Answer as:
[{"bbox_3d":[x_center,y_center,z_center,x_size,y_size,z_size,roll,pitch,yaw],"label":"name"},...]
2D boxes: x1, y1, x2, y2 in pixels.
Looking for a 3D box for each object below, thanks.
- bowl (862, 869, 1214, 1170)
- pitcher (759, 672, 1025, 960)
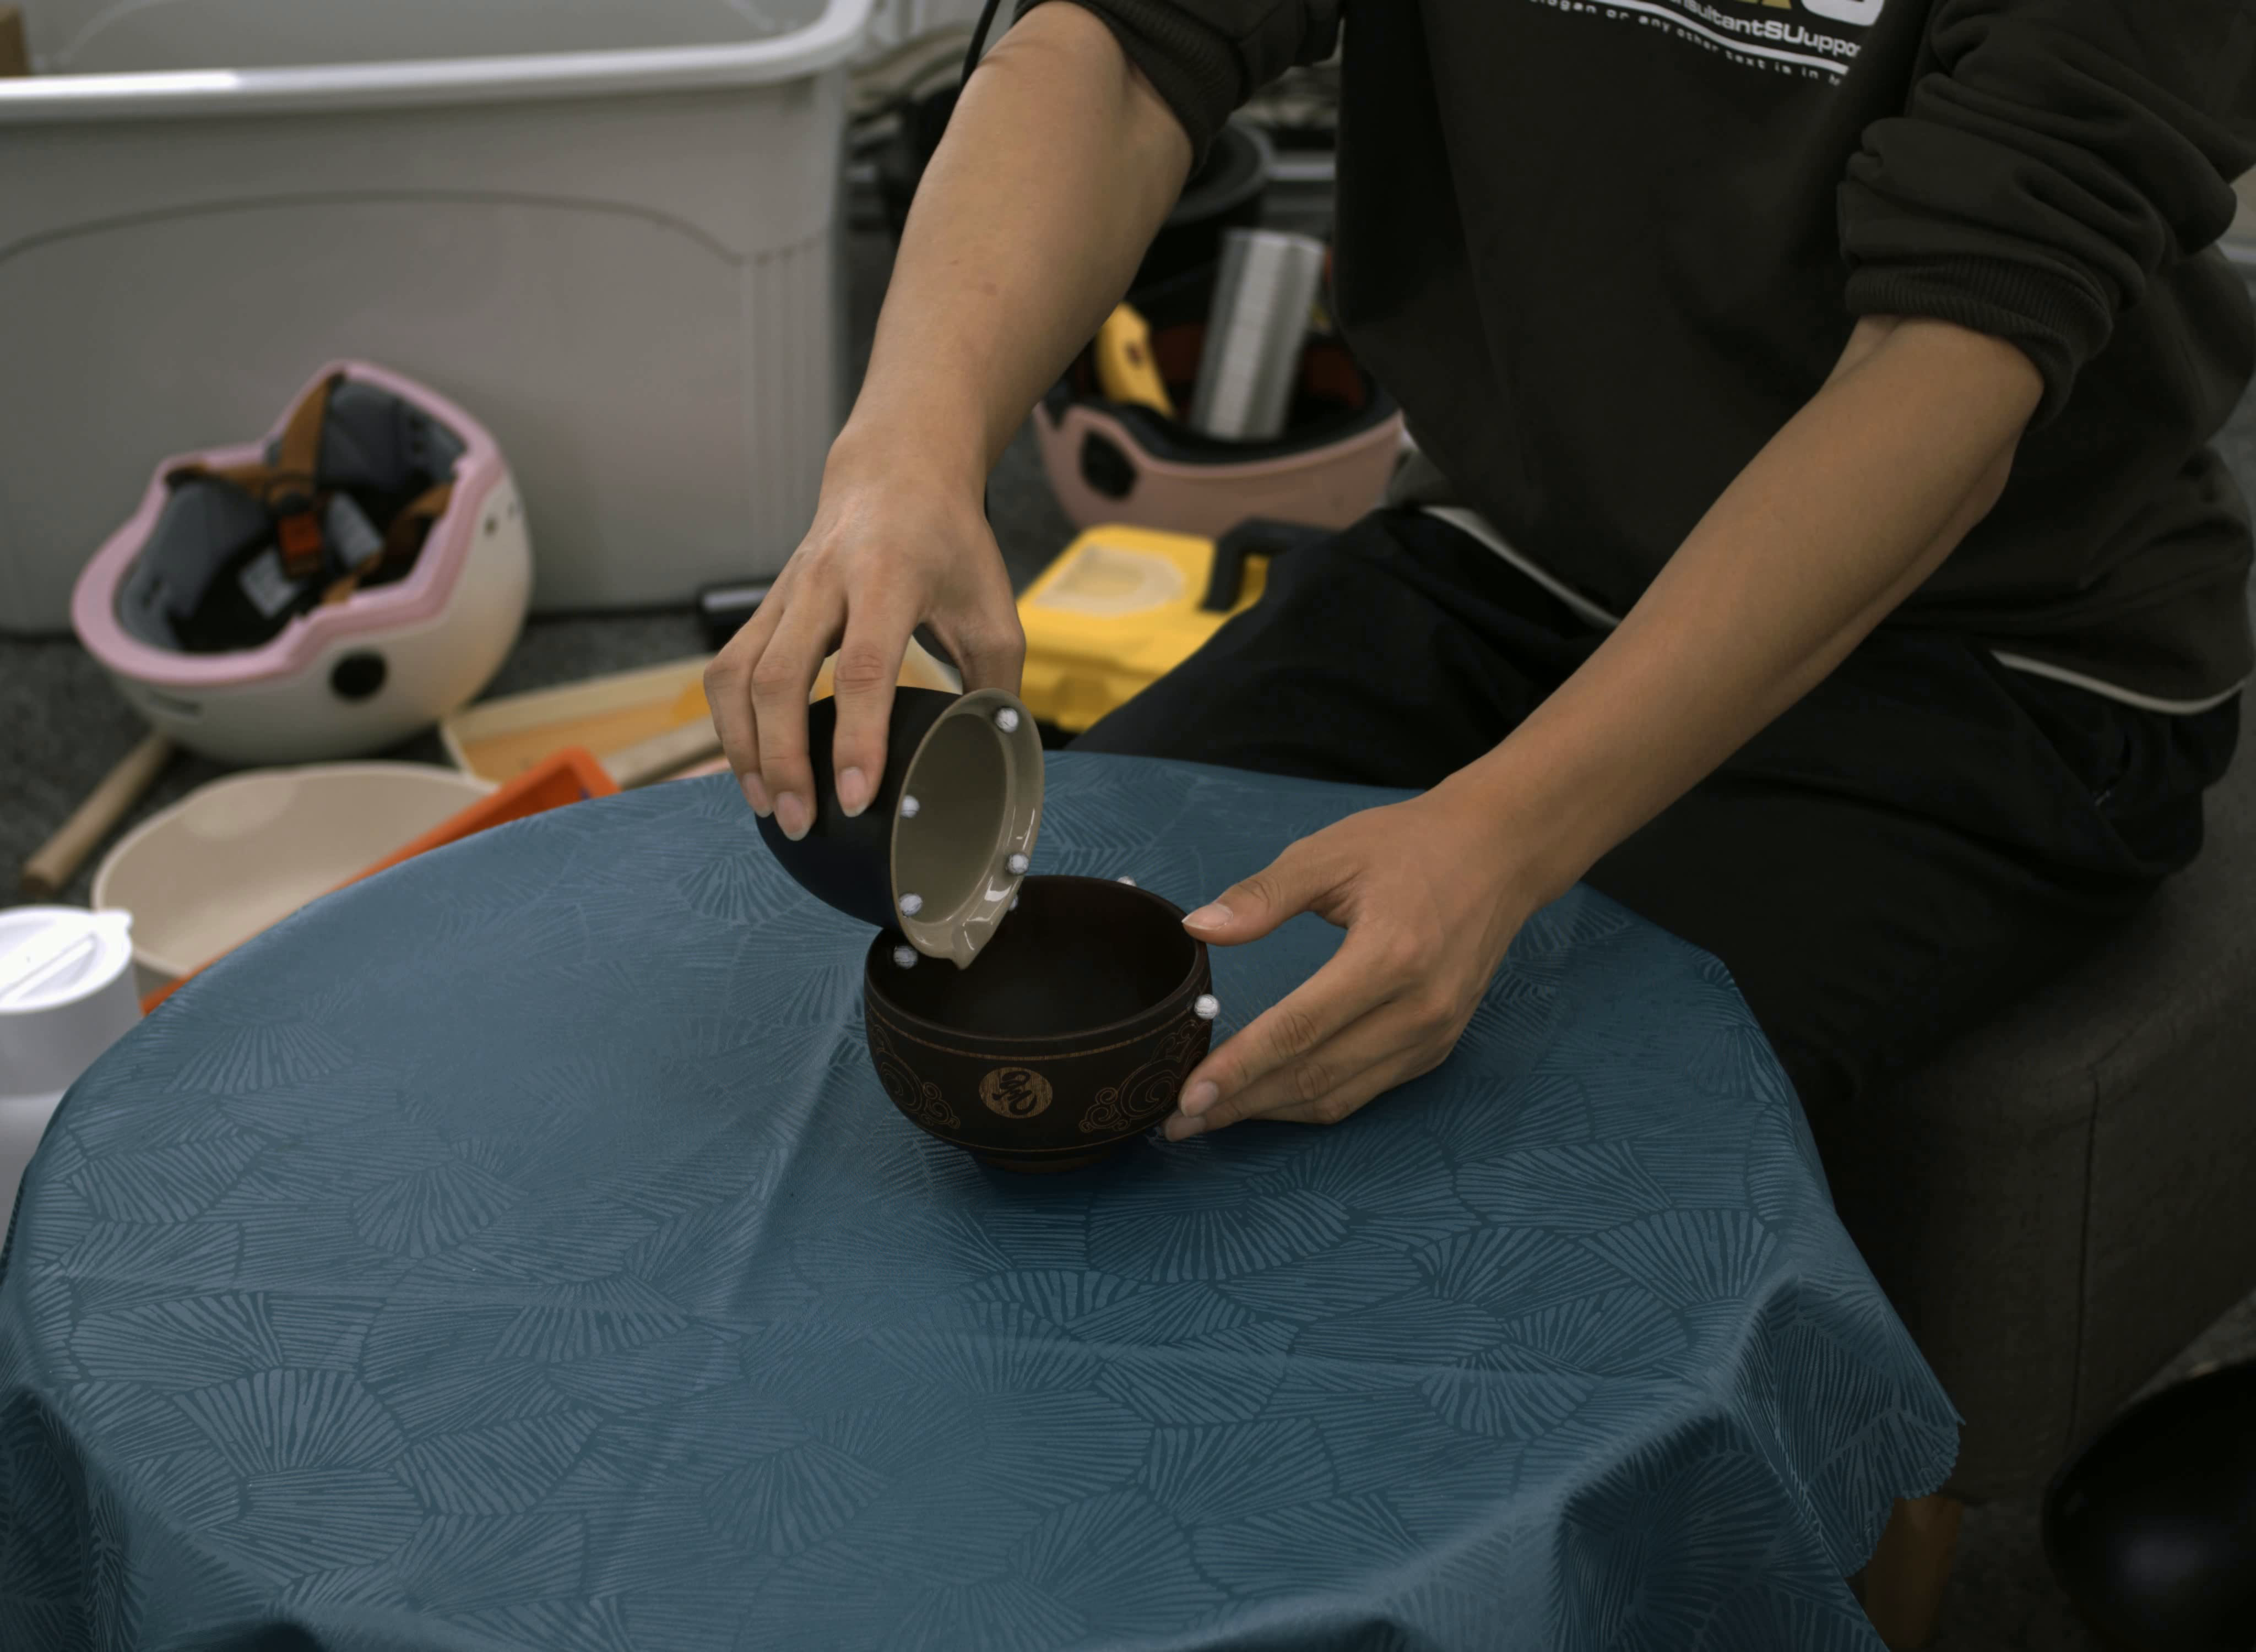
[{"bbox_3d":[-0.029,0.072,1.887,0.117,0.069,0.120,-4,28,2],"label":"bowl"},{"bbox_3d":[-0.081,-0.008,1.884,0.071,0.095,0.084,14,20,25],"label":"pitcher"}]
